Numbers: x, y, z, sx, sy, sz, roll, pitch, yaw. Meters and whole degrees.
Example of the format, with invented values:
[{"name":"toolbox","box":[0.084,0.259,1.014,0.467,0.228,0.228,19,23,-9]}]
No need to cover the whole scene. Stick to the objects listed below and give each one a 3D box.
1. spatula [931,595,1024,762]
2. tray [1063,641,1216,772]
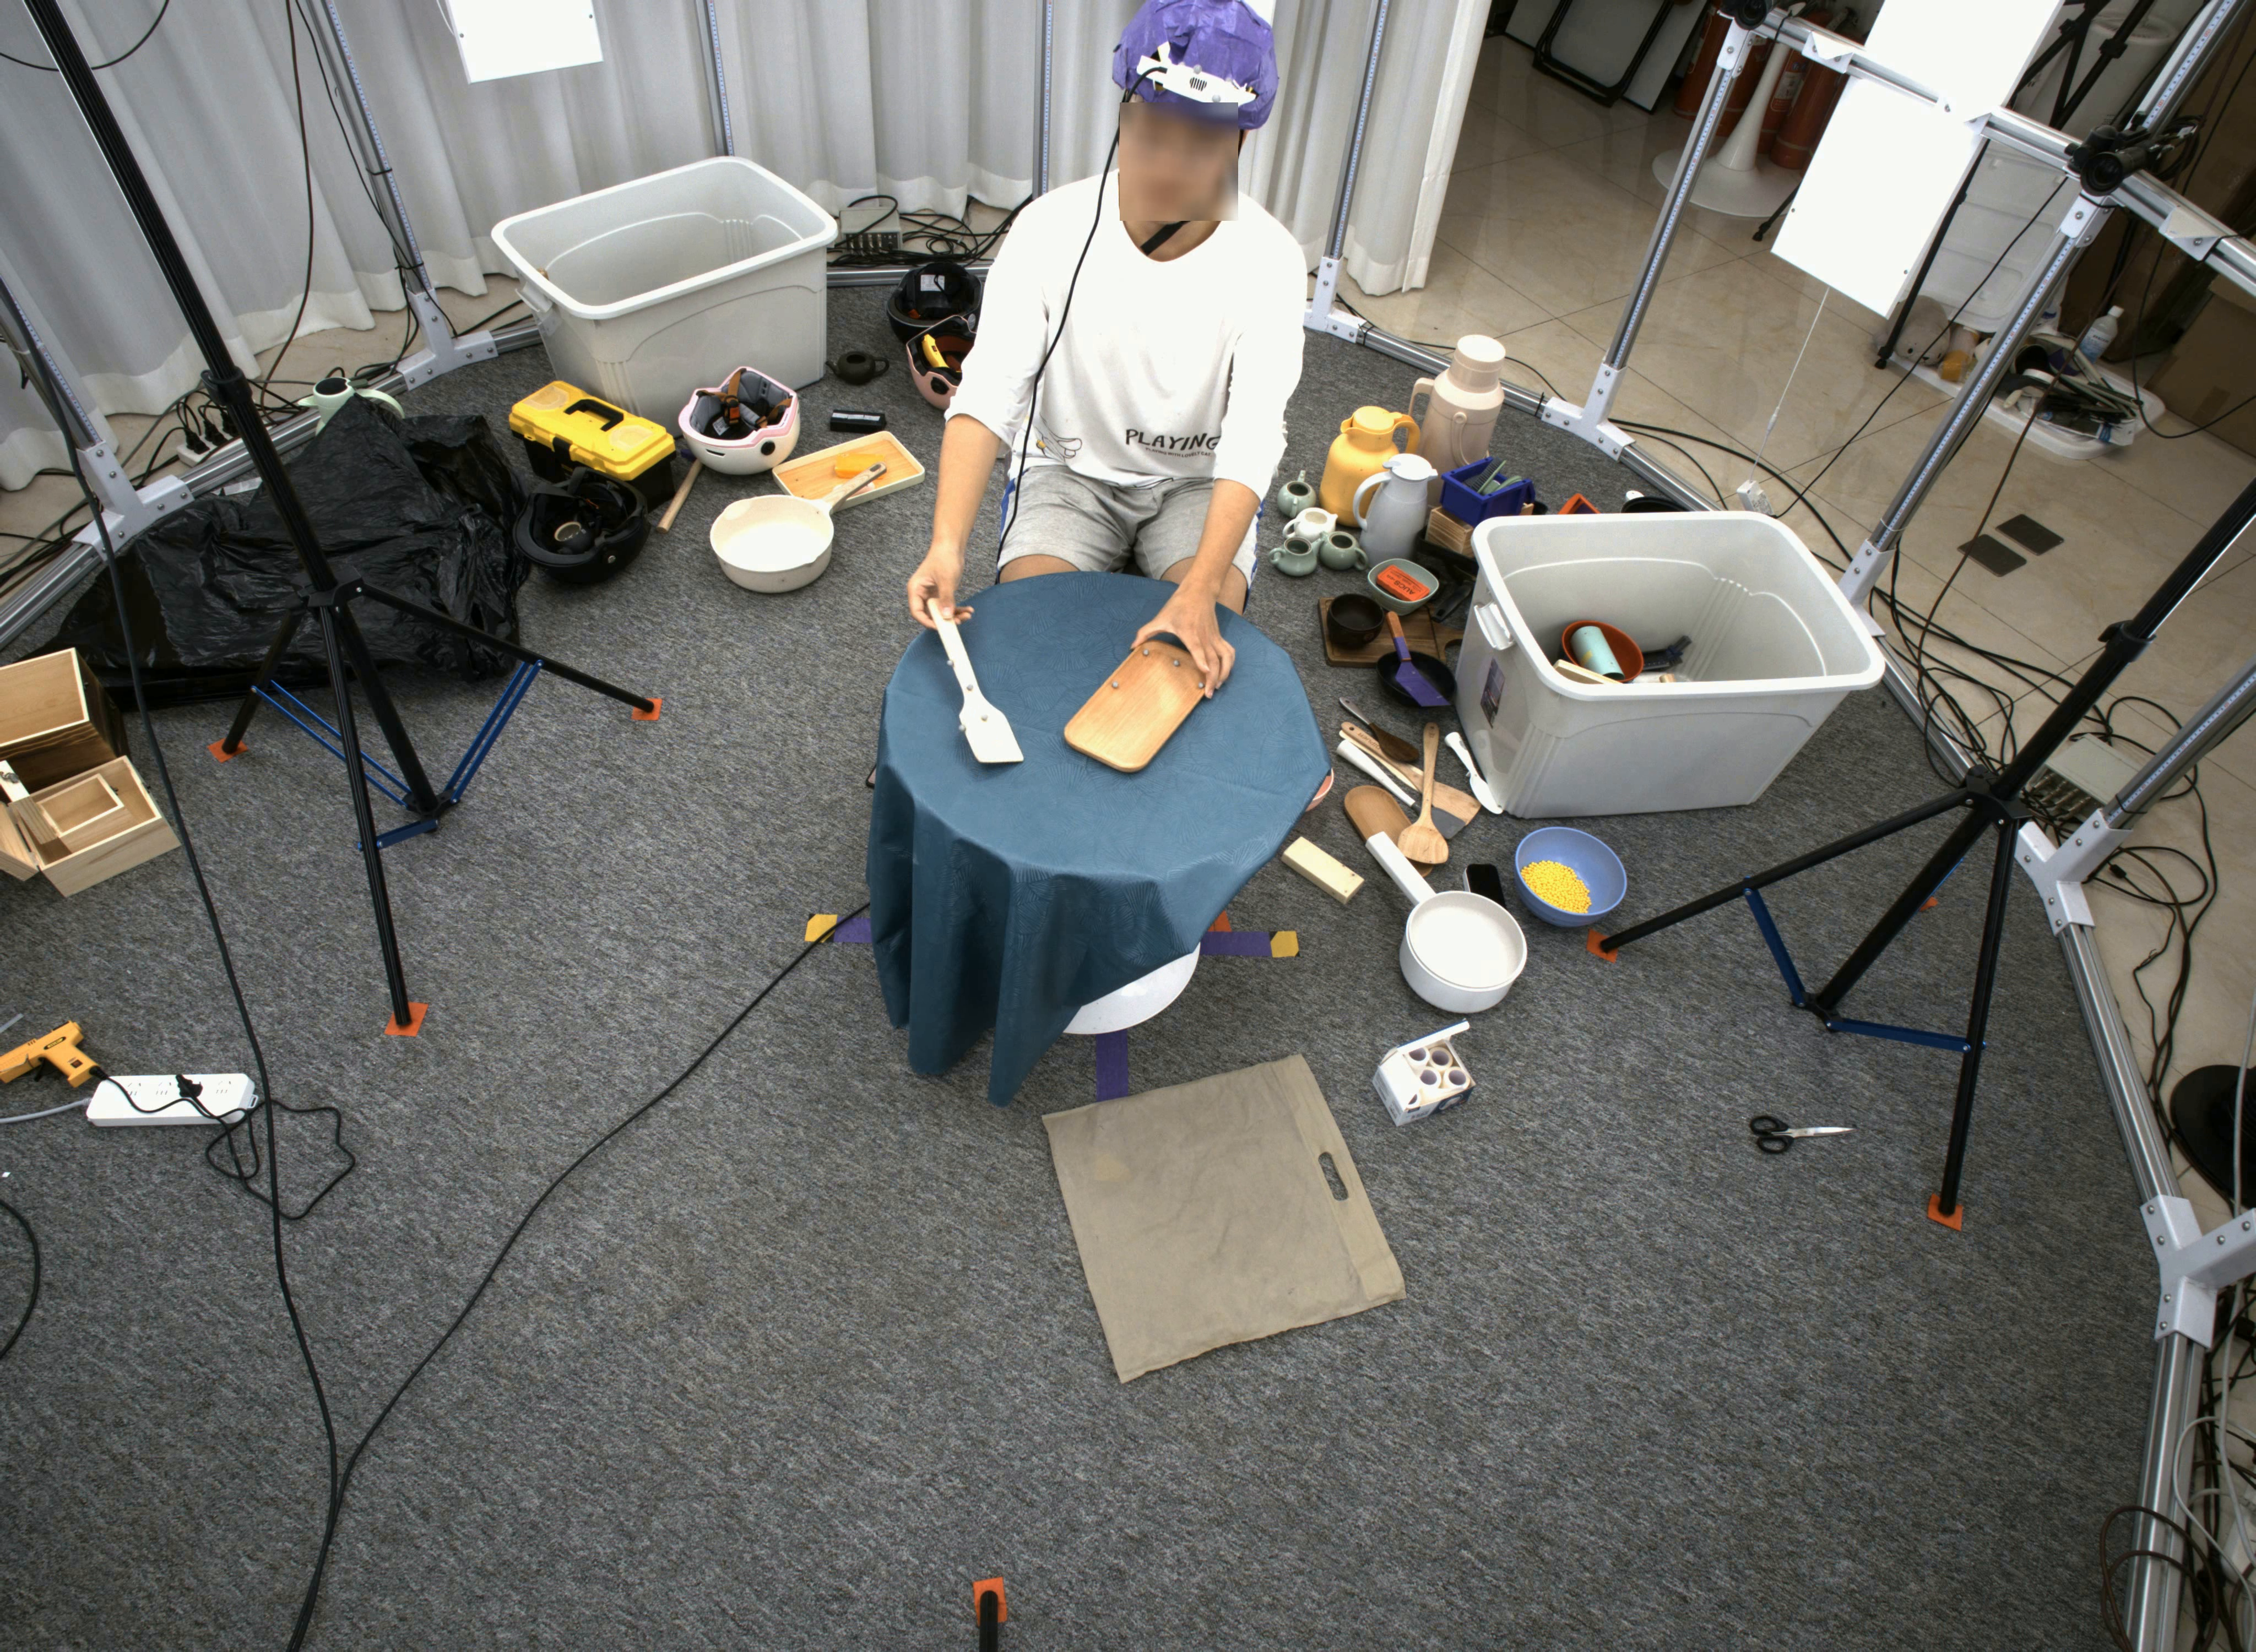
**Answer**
[{"name":"spatula","box":[-0.221,-0.207,1.781,0.072,0.010,0.299,-4,58,-32]},{"name":"tray","box":[0.019,-0.171,1.803,0.132,0.022,0.254,24,52,20]}]
